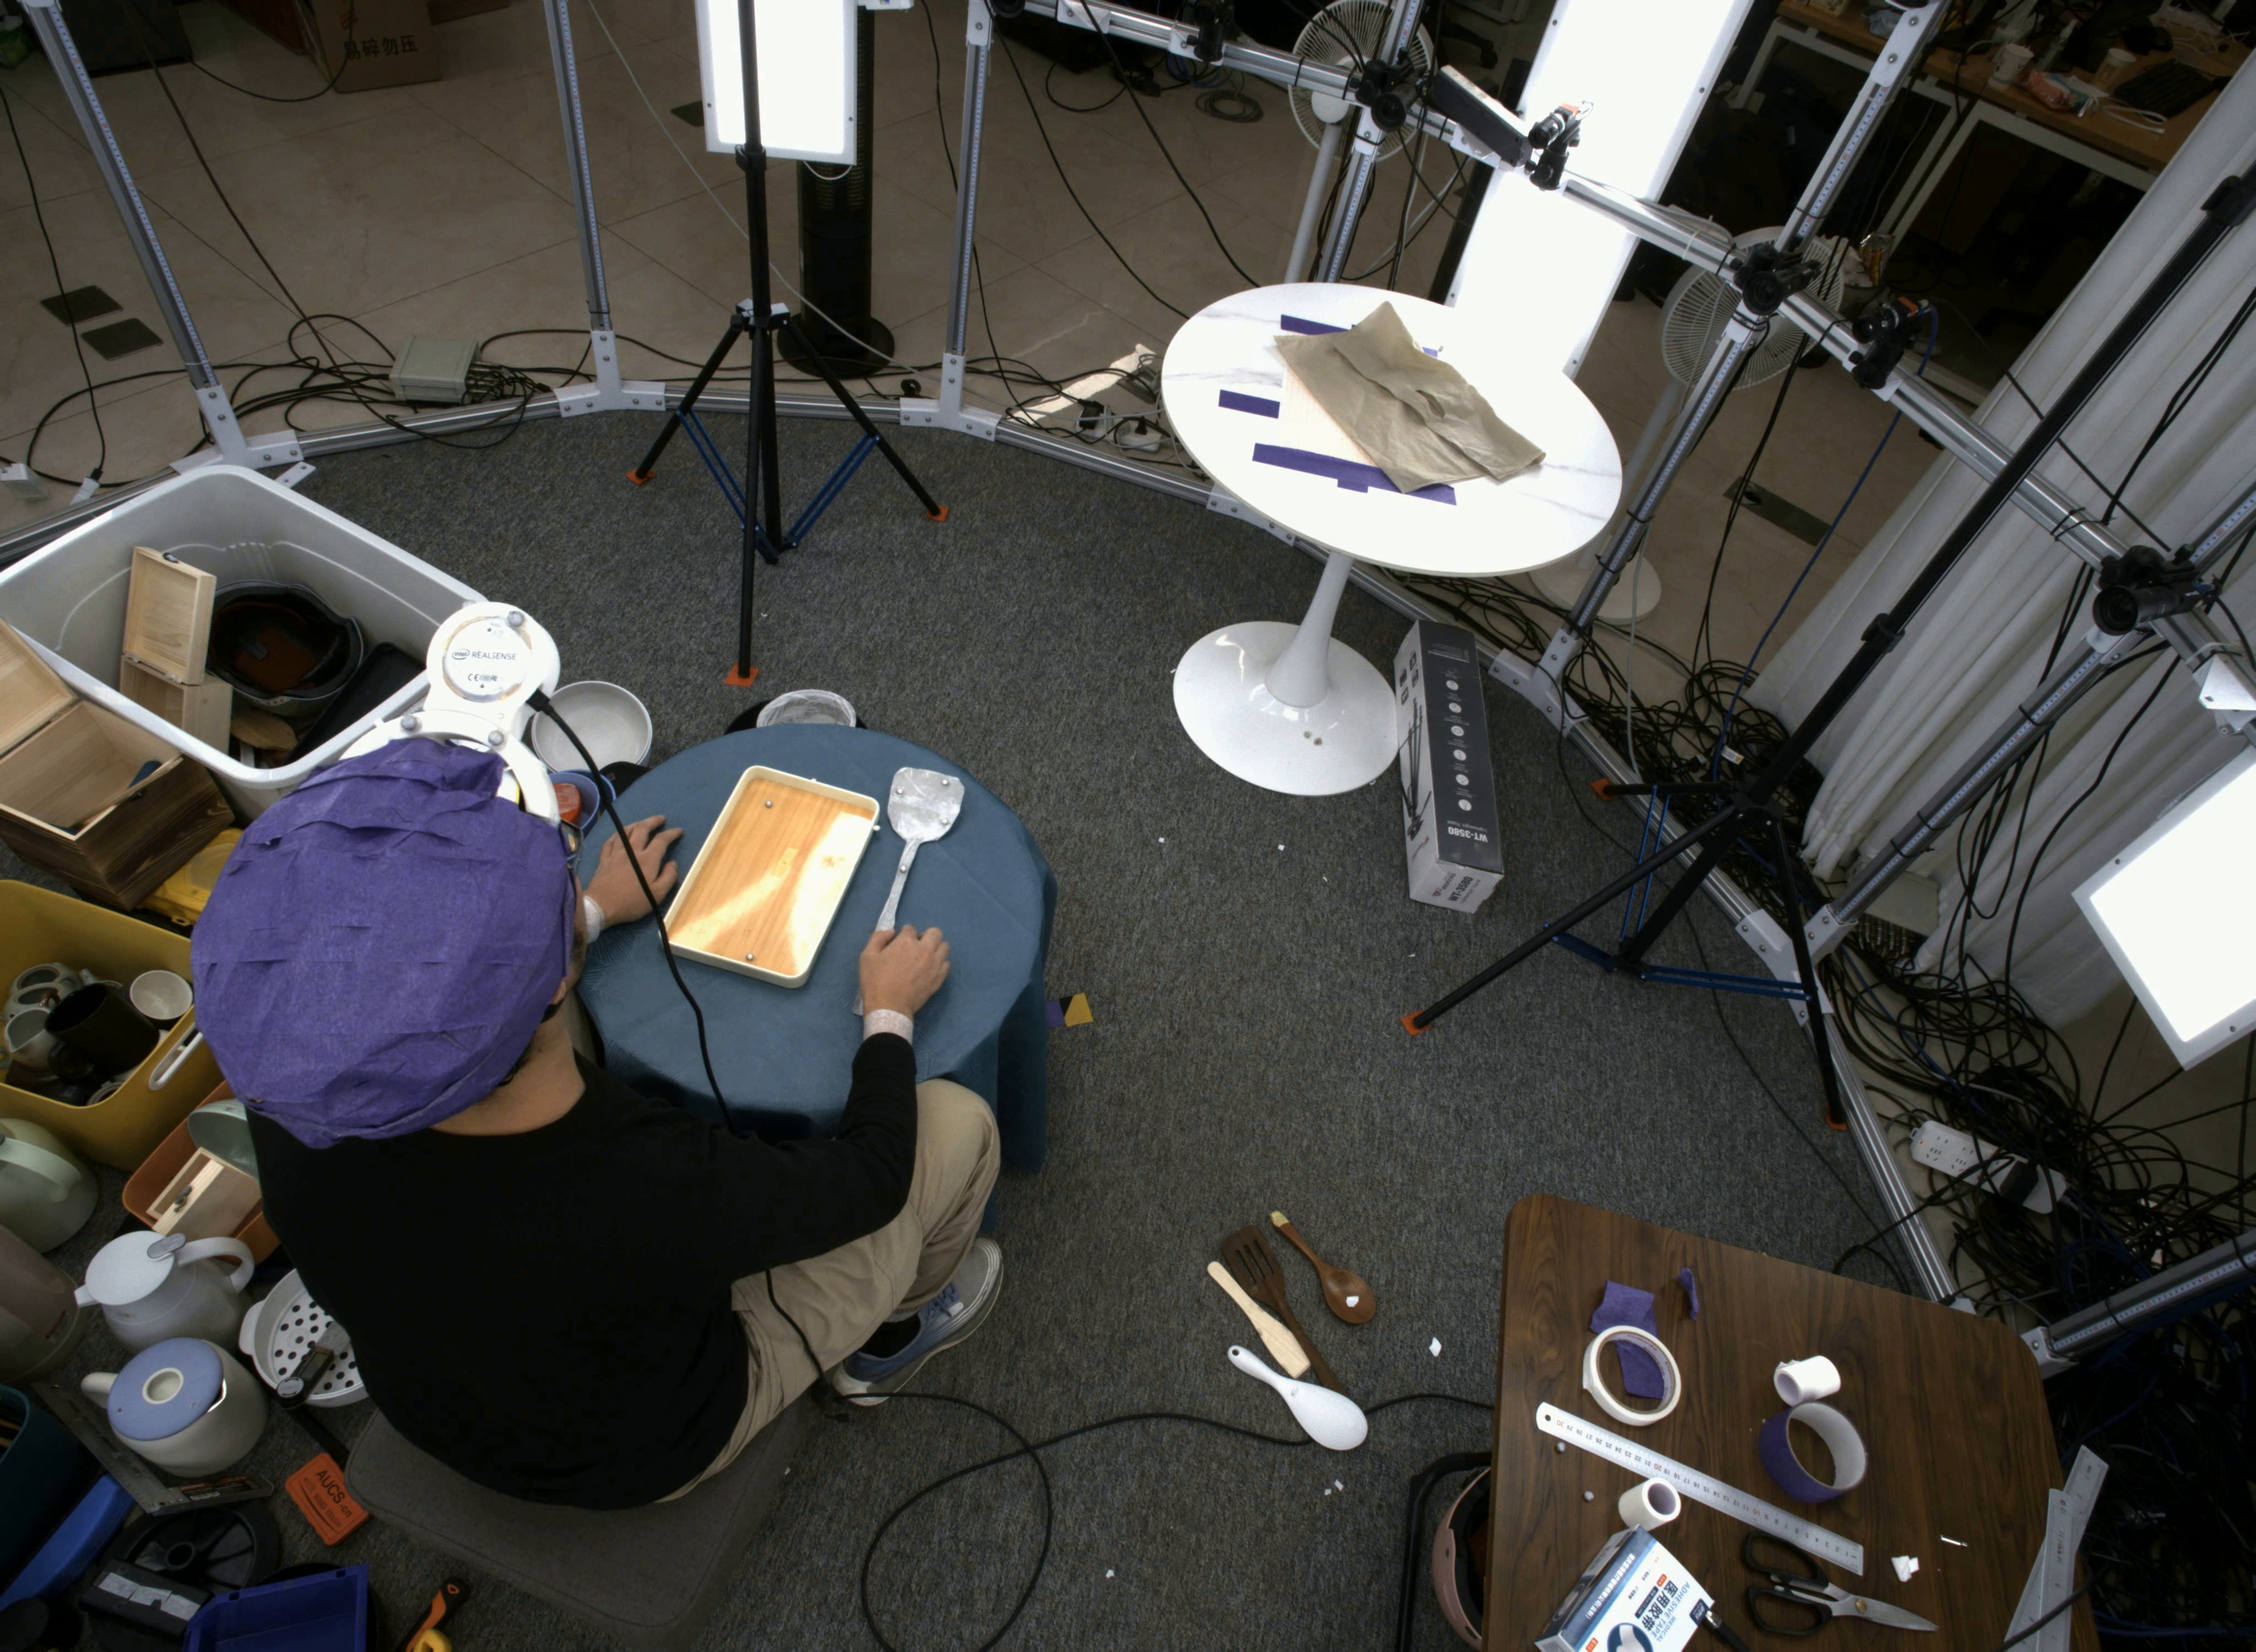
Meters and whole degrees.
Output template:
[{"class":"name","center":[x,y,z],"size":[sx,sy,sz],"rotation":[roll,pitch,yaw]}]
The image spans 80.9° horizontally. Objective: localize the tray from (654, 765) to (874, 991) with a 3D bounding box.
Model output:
[{"class":"tray","center":[-0.457,0.058,1.649],"size":[0.190,0.028,0.296],"rotation":[17,52,-2]}]

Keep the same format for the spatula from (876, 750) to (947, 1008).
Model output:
[{"class":"spatula","center":[-0.288,0.059,1.685],"size":[0.097,0.046,0.359],"rotation":[-3,57,3]}]
